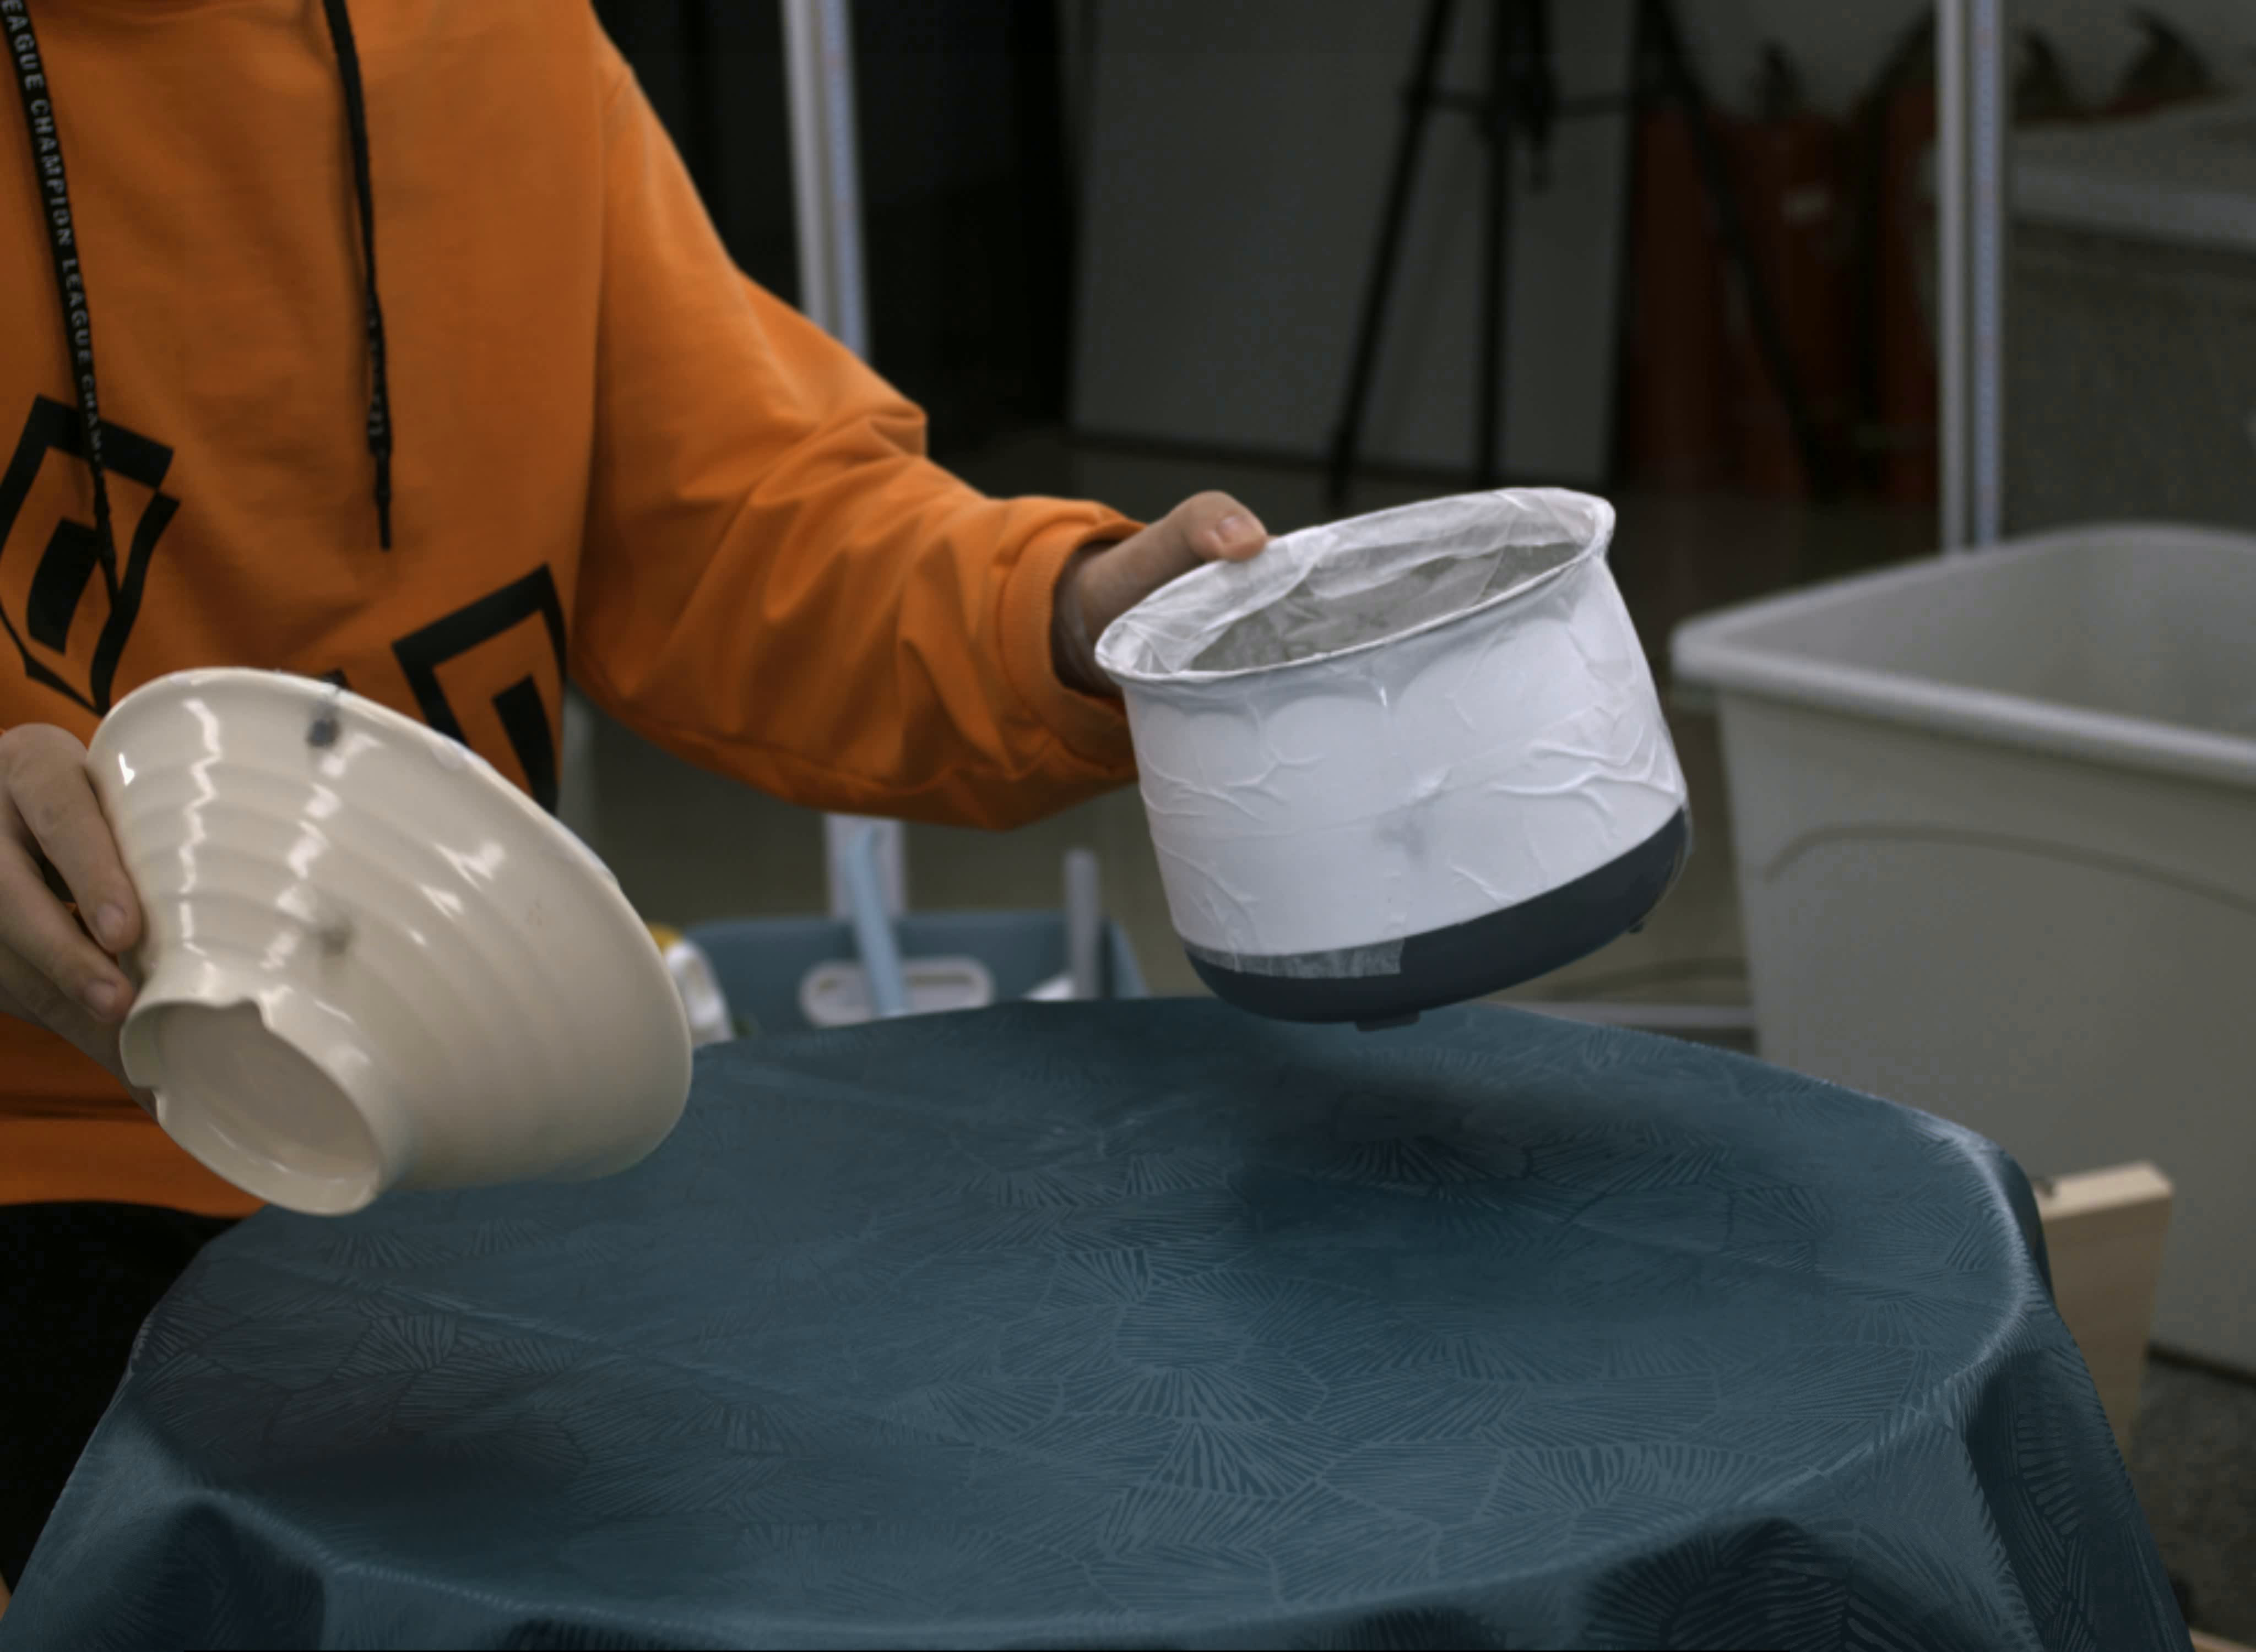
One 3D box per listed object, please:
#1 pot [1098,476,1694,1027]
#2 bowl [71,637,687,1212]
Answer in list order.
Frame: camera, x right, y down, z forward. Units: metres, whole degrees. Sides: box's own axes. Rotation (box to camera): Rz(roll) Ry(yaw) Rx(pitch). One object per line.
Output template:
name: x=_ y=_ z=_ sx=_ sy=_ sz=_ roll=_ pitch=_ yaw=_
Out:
pot: x=0.079 y=-0.028 z=1.794 sx=0.175 sy=0.137 sz=0.236 roll=-21 pitch=15 yaw=-19
bowl: x=-0.230 y=0.051 z=1.533 sx=0.205 sy=0.204 sz=0.077 roll=5 pitch=42 yaw=30
